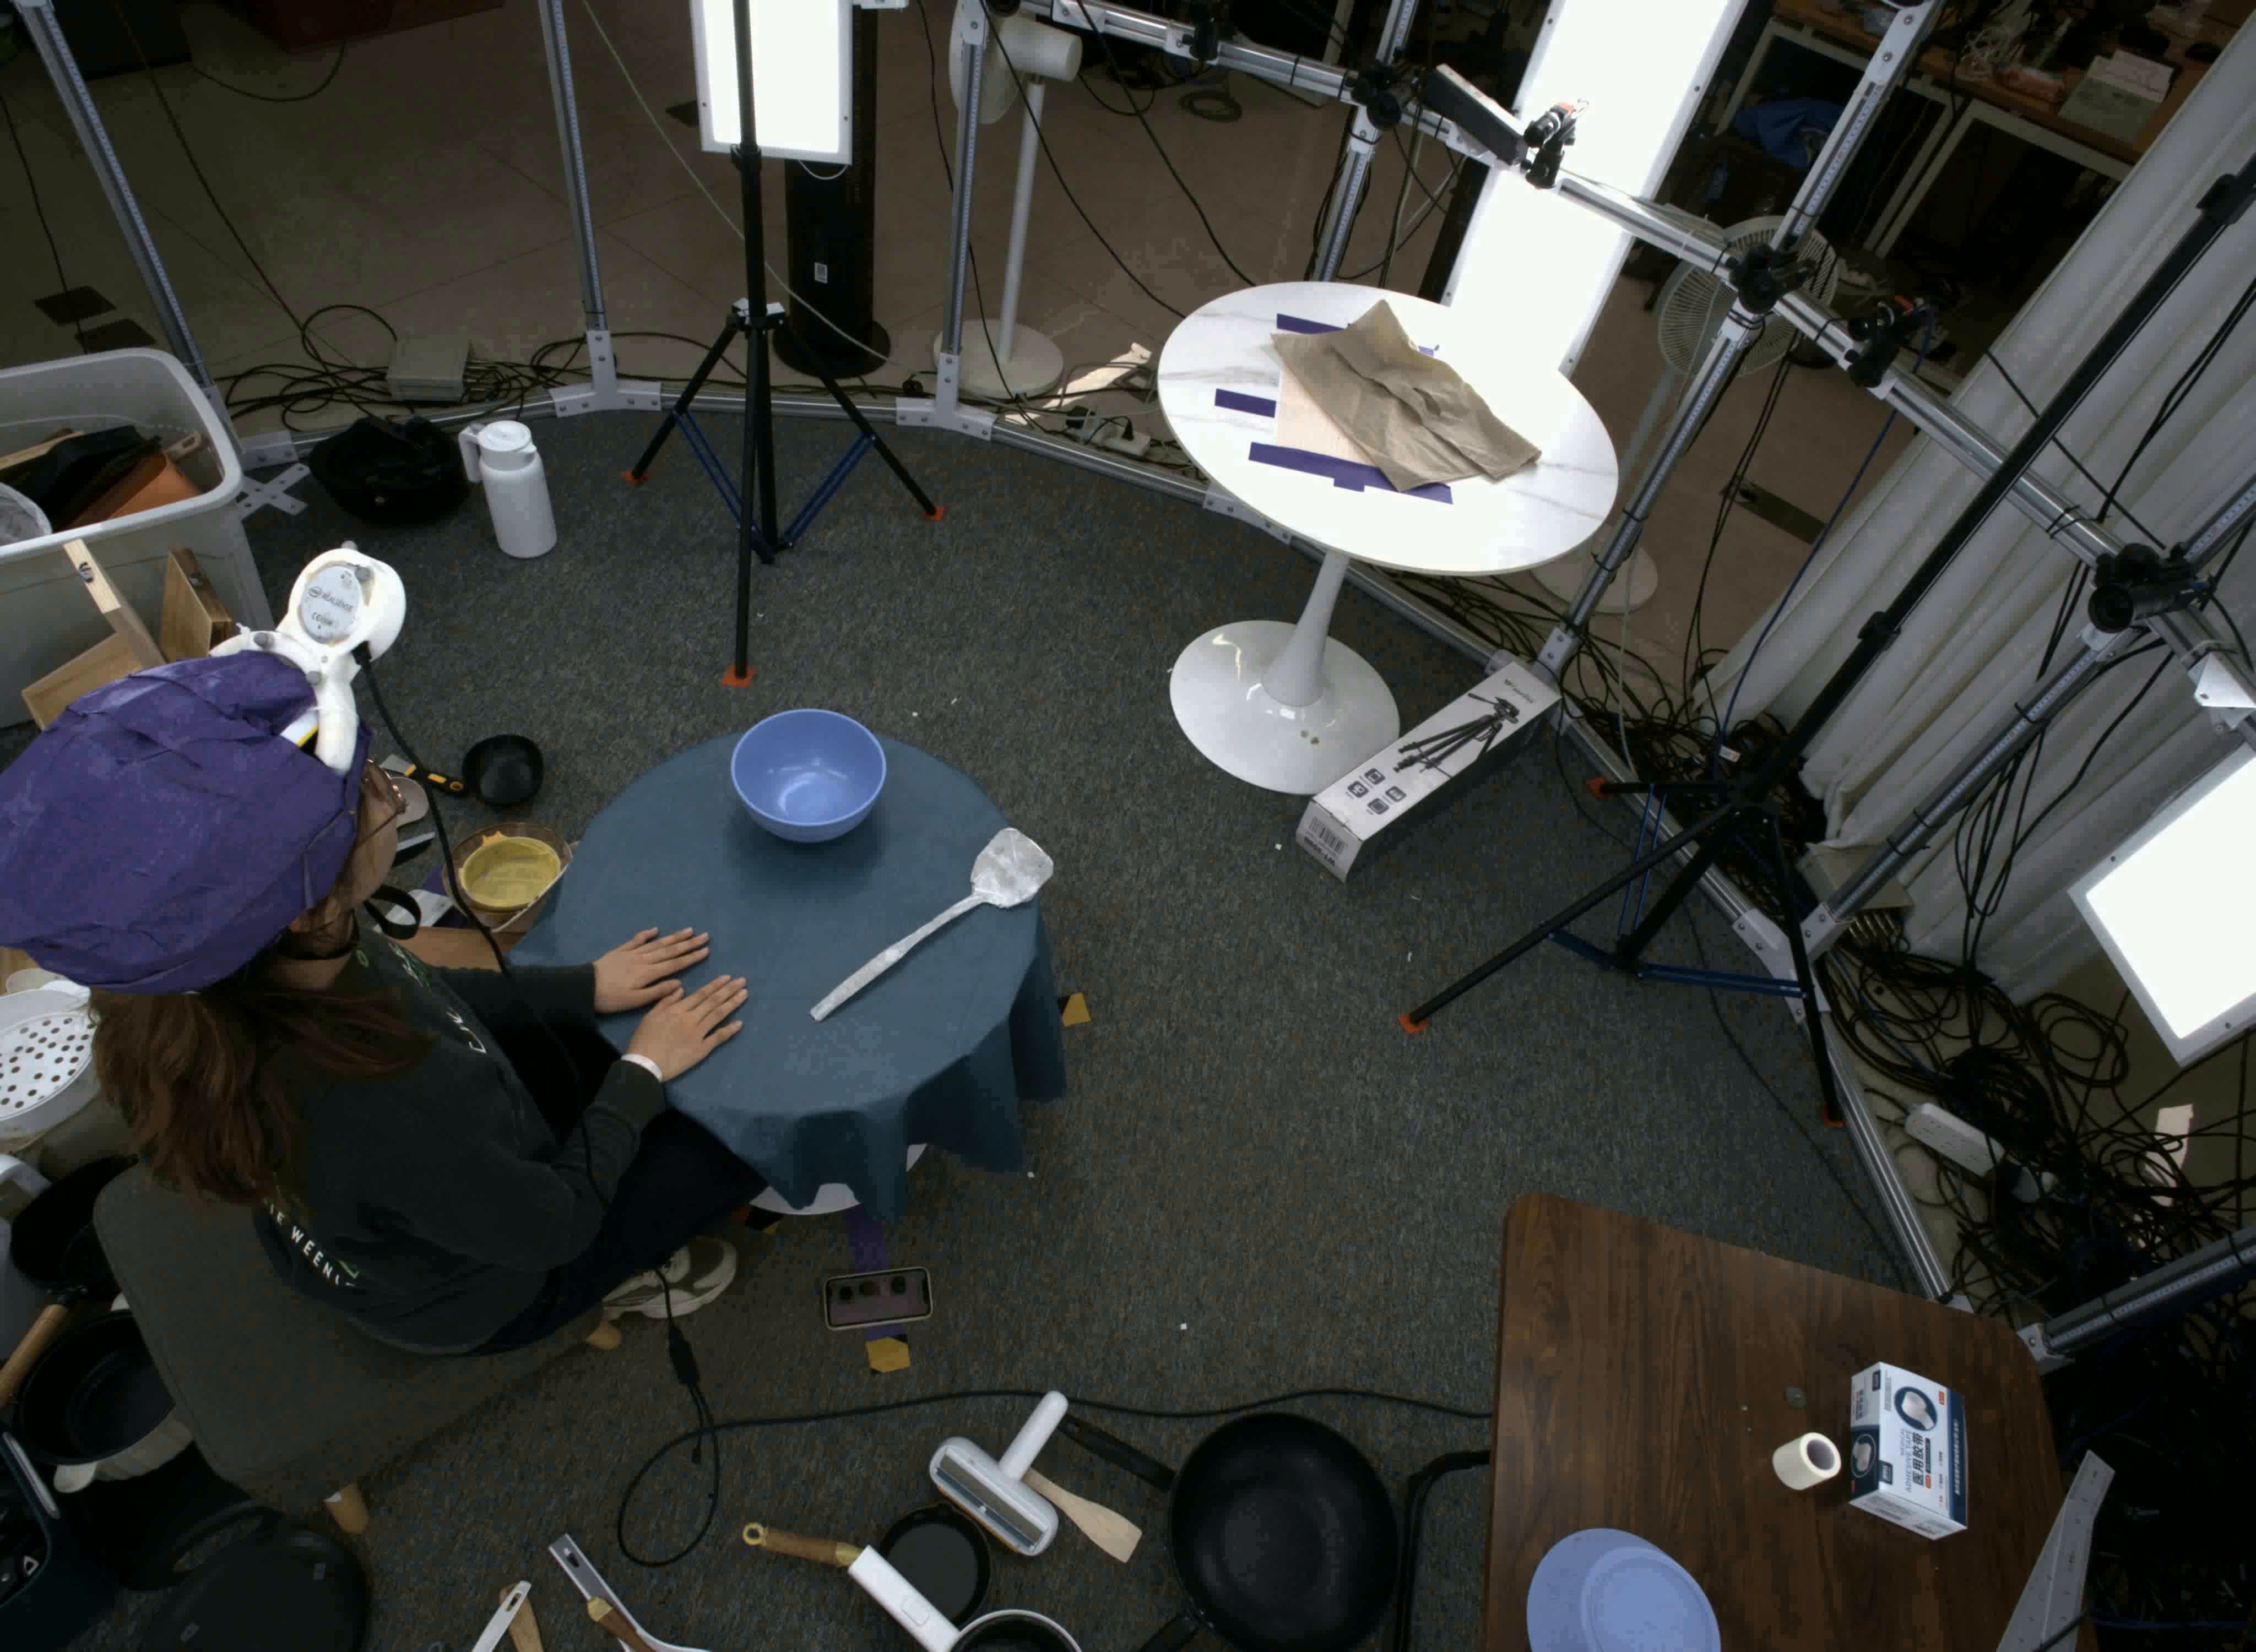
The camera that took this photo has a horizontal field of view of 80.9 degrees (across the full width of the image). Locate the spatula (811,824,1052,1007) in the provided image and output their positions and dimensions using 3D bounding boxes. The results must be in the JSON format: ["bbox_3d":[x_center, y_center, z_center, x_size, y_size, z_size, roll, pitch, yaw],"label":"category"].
[{"bbox_3d":[-0.251,0.120,1.660,0.097,0.045,0.366,43,55,16],"label":"spatula"}]

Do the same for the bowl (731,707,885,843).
[{"bbox_3d":[-0.420,-0.052,1.708,0.196,0.097,0.193,8,52,-9],"label":"bowl"}]
